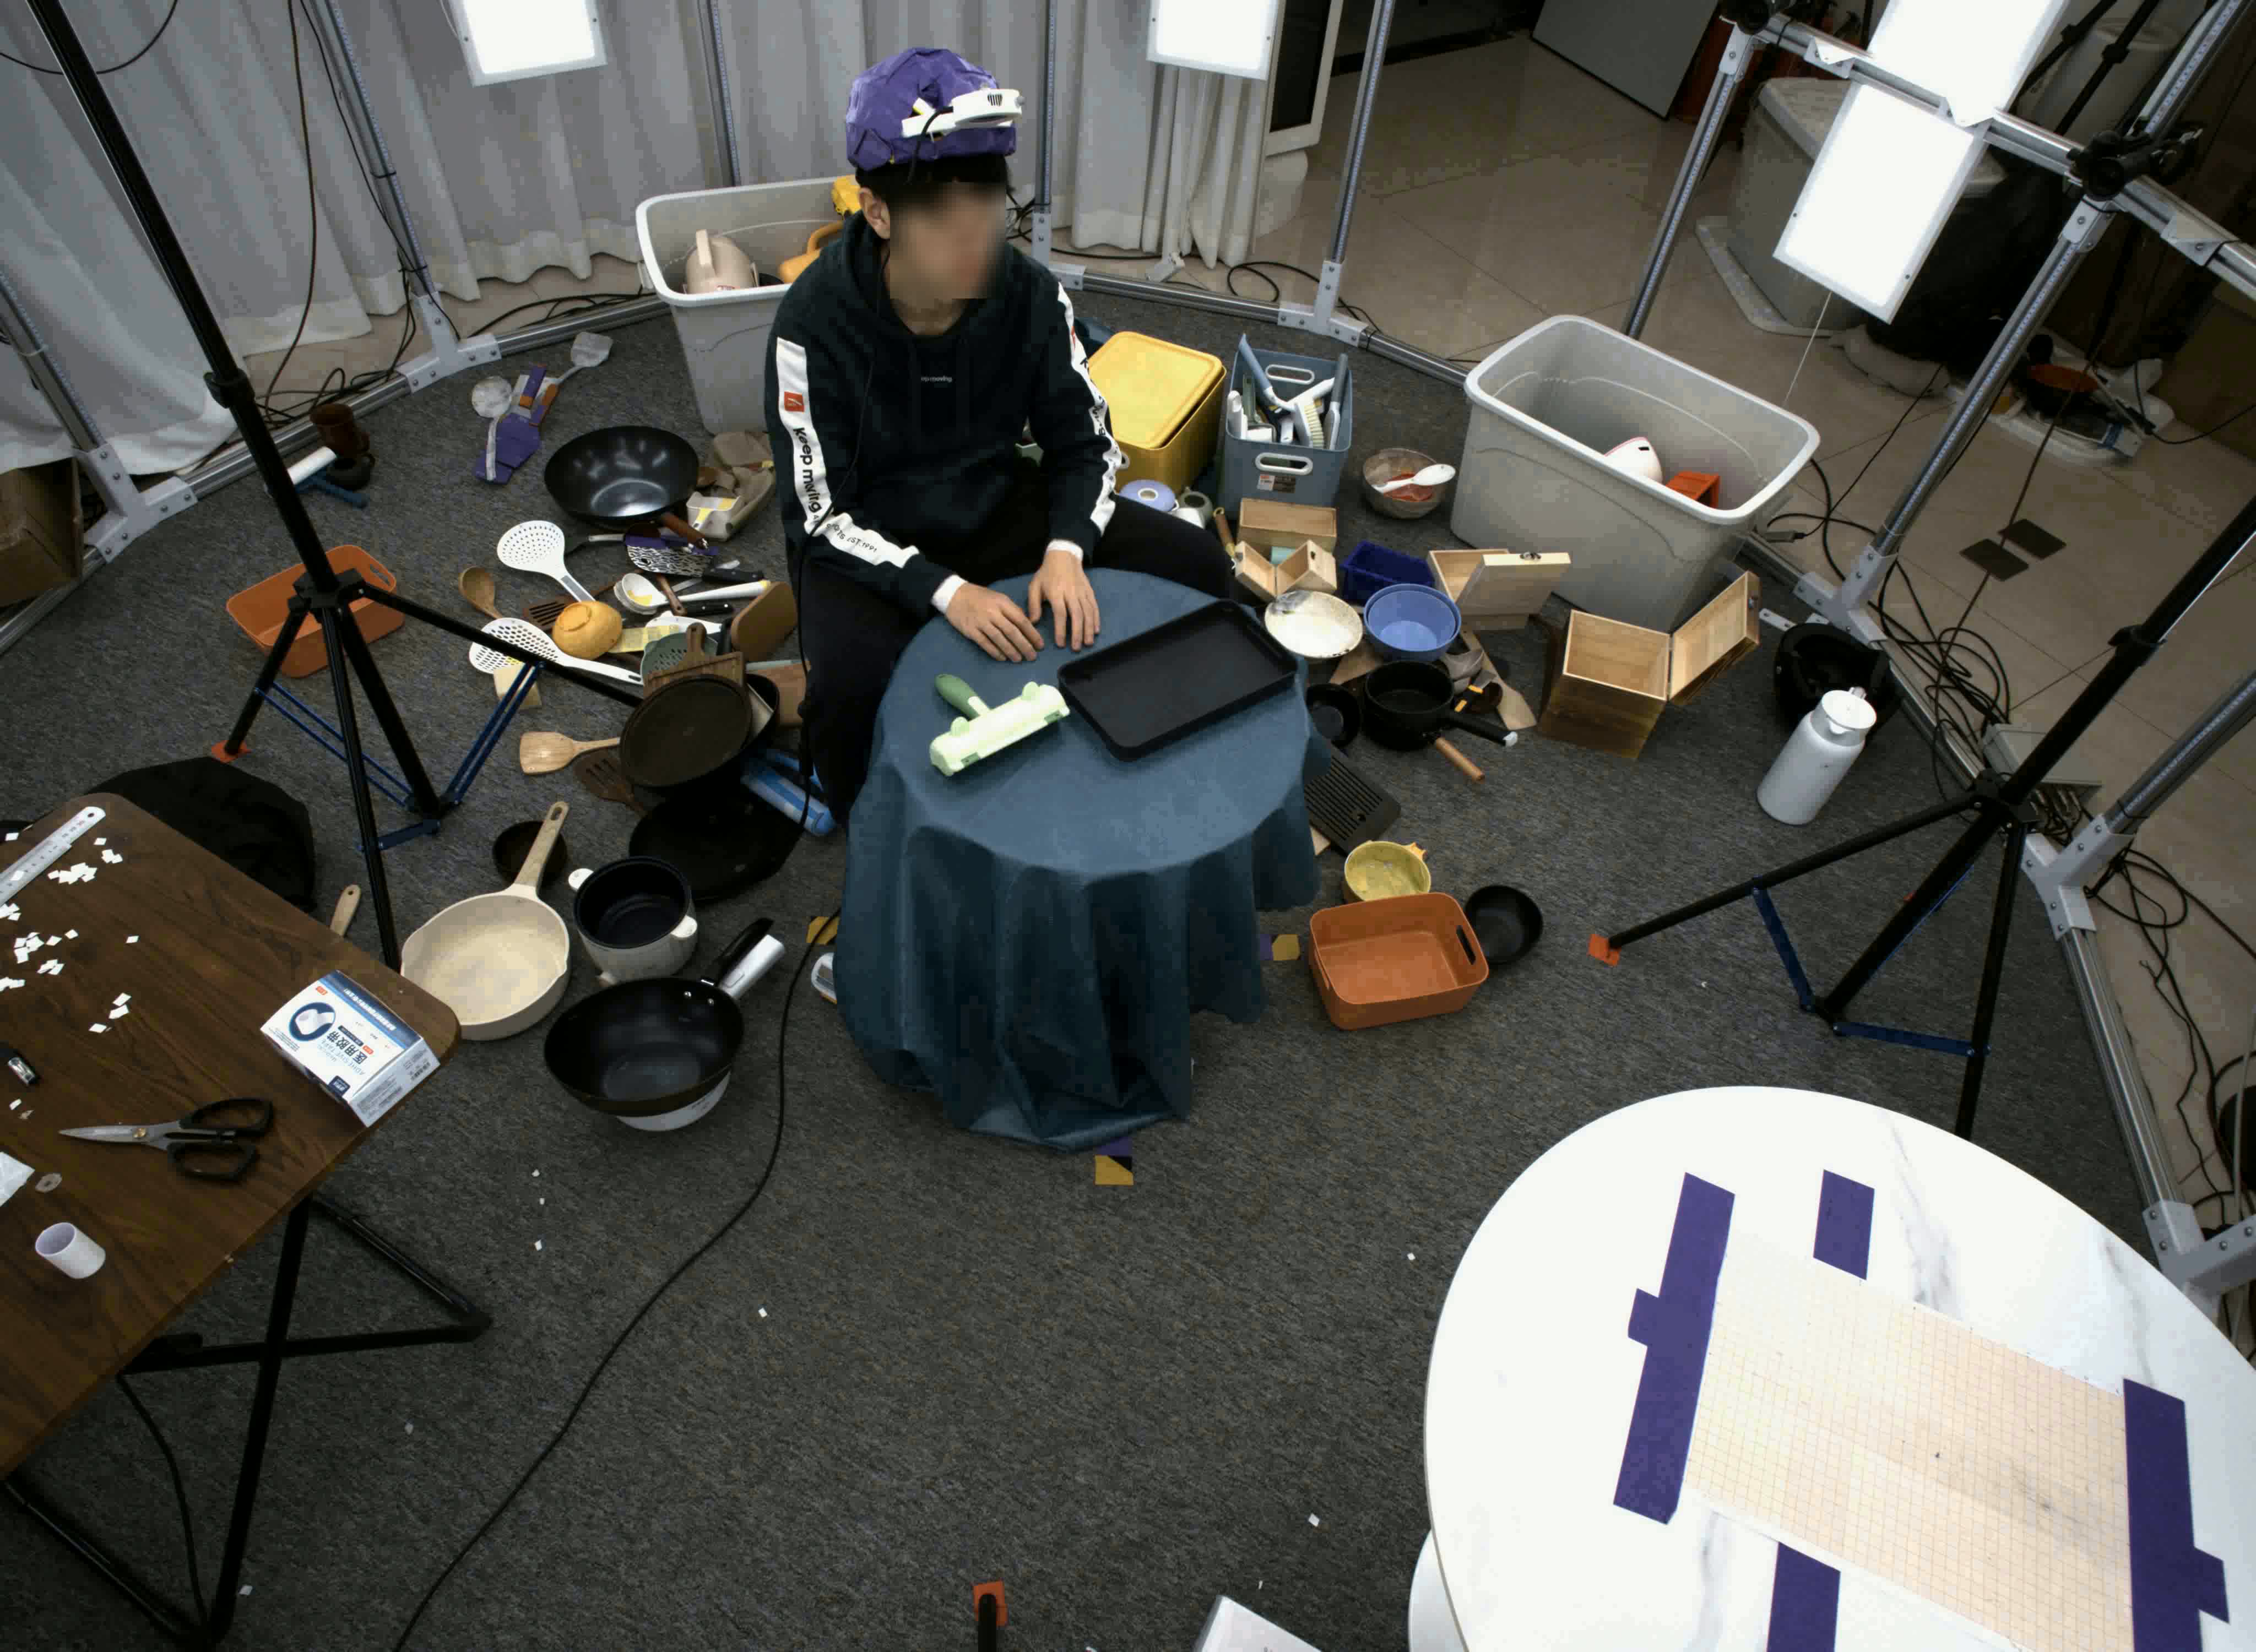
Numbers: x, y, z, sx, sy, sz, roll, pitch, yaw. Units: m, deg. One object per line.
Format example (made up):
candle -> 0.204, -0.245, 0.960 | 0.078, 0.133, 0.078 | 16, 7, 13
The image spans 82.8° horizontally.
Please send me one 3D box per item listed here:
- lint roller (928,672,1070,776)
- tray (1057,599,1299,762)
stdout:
lint roller -> -0.208, -0.171, 1.752 | 0.200, 0.080, 0.186 | -29, 60, -26
tray -> 0.072, -0.213, 1.834 | 0.319, 0.036, 0.188 | -25, 55, -23
